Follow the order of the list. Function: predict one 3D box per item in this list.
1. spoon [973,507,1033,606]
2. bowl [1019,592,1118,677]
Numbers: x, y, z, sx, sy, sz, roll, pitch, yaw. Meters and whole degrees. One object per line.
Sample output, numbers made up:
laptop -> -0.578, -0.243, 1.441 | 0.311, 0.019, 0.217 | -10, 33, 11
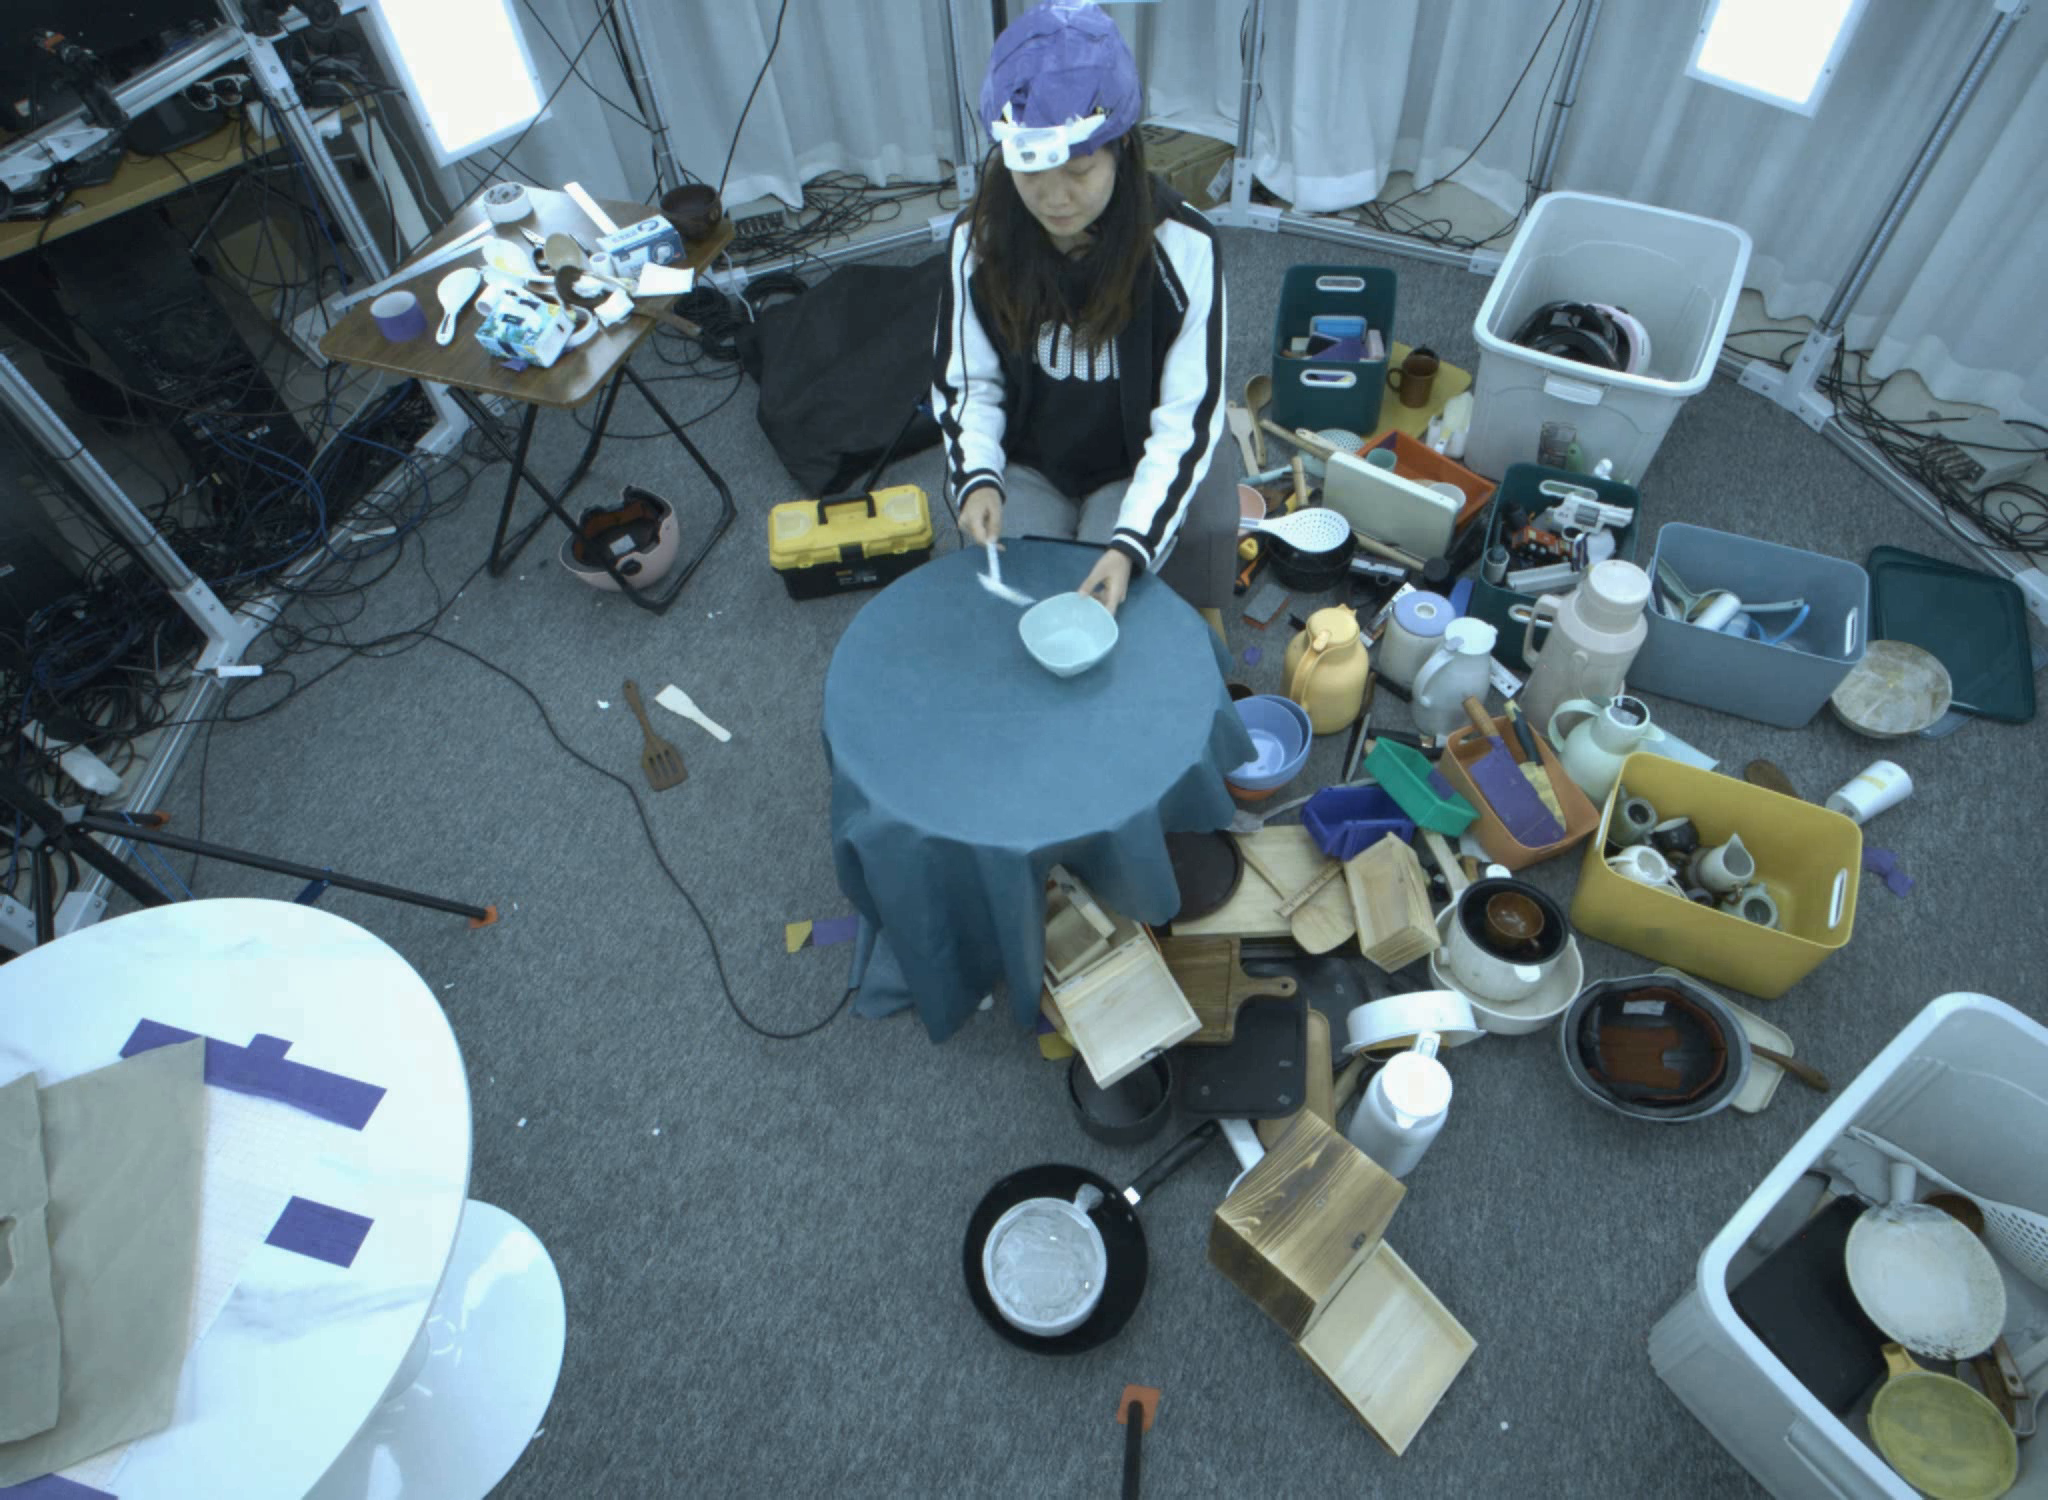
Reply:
spoon -> -0.032, -0.305, 1.862 | 0.103, 0.059, 0.274 | 30, 37, -28
bowl -> 0.068, -0.167, 1.870 | 0.151, 0.059, 0.150 | 0, 55, 2
